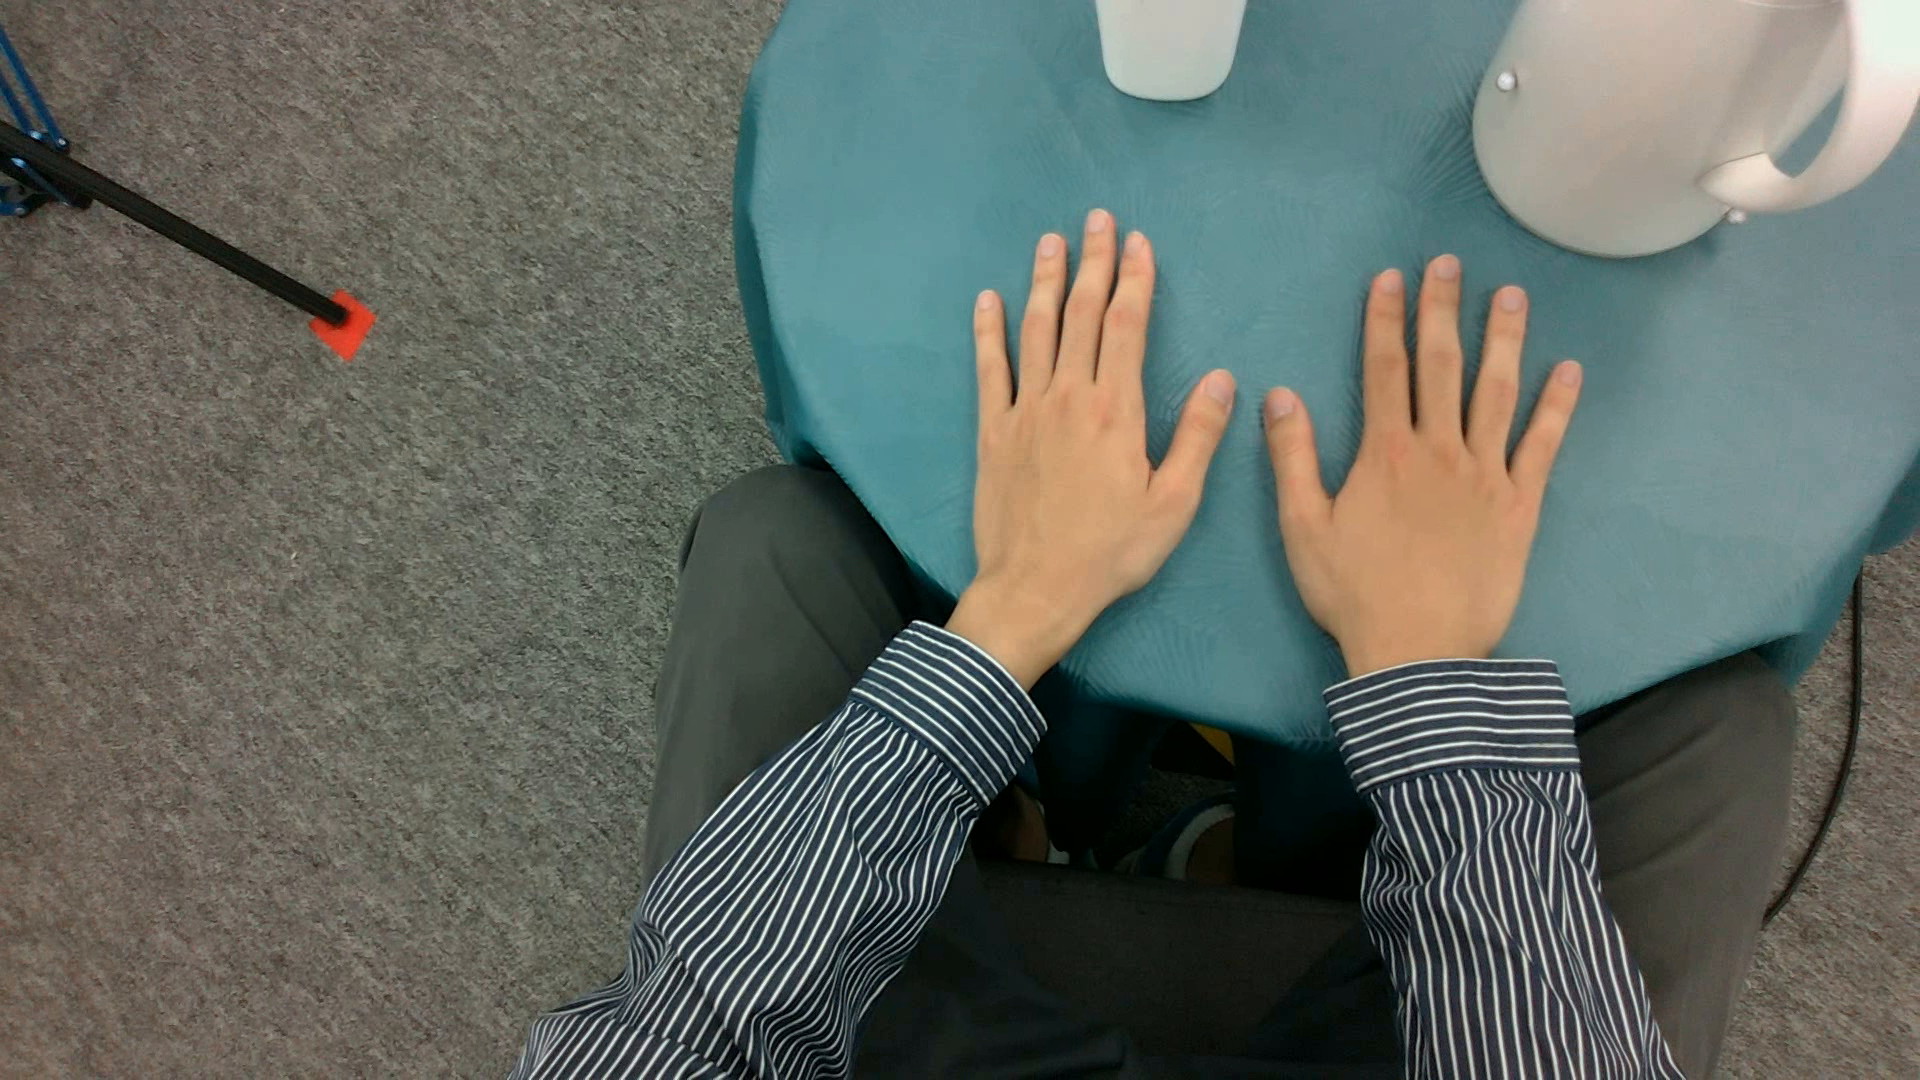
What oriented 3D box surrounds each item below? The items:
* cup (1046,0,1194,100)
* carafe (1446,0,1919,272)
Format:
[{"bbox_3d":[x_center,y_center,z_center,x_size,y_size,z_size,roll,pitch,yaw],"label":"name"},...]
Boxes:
[{"bbox_3d":[0.076,-0.271,0.653,0.081,0.125,0.082,-1,78,6],"label":"cup"},{"bbox_3d":[0.297,-0.204,0.547,0.132,0.248,0.168,-20,75,1],"label":"carafe"}]
